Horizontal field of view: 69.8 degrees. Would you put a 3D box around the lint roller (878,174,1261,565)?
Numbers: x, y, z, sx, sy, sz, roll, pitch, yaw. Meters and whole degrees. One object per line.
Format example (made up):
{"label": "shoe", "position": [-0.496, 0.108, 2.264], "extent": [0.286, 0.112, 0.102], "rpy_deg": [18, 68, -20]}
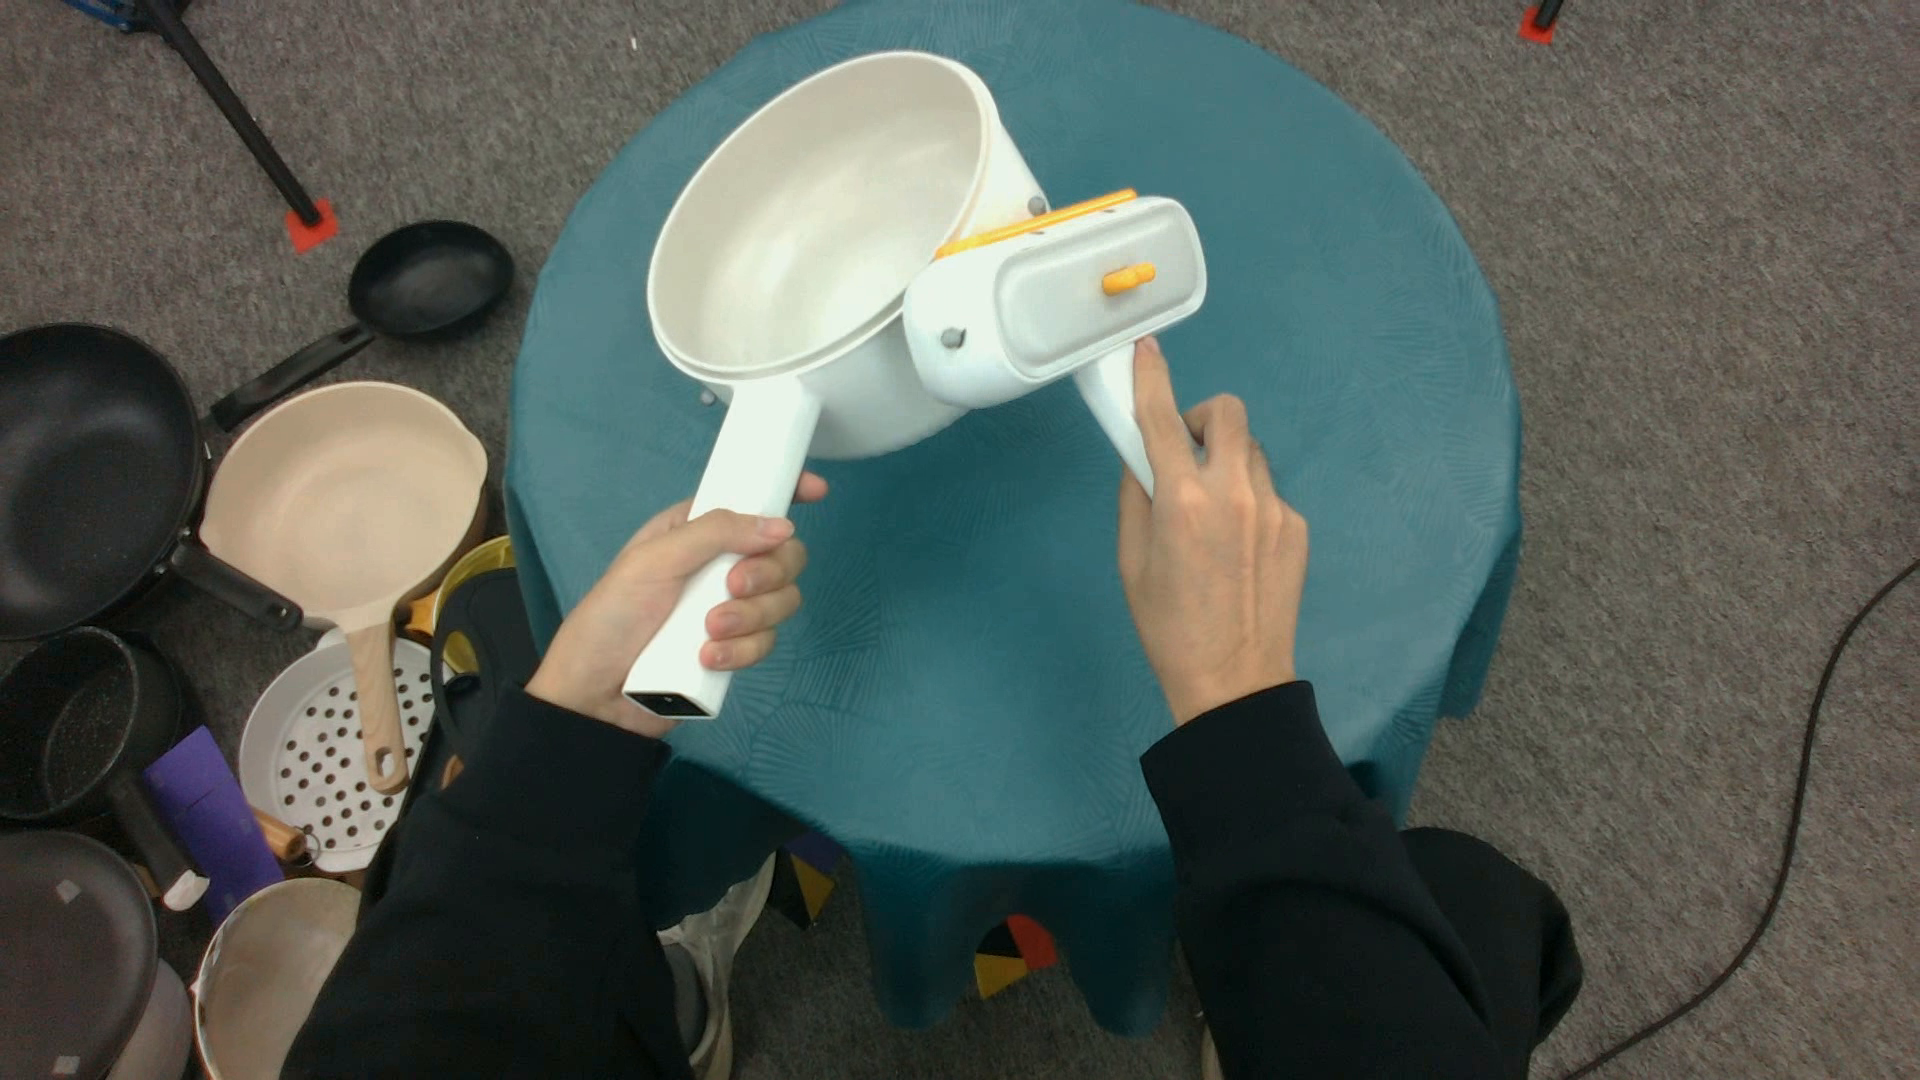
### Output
{"label": "lint roller", "position": [0.071, -0.069, 0.636], "extent": [0.194, 0.074, 0.192], "rpy_deg": [-35, 99, -49]}

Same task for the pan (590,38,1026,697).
{"label": "pan", "position": [-0.080, -0.080, 0.669], "extent": [0.201, 0.102, 0.356], "rpy_deg": [-3, 60, 29]}
